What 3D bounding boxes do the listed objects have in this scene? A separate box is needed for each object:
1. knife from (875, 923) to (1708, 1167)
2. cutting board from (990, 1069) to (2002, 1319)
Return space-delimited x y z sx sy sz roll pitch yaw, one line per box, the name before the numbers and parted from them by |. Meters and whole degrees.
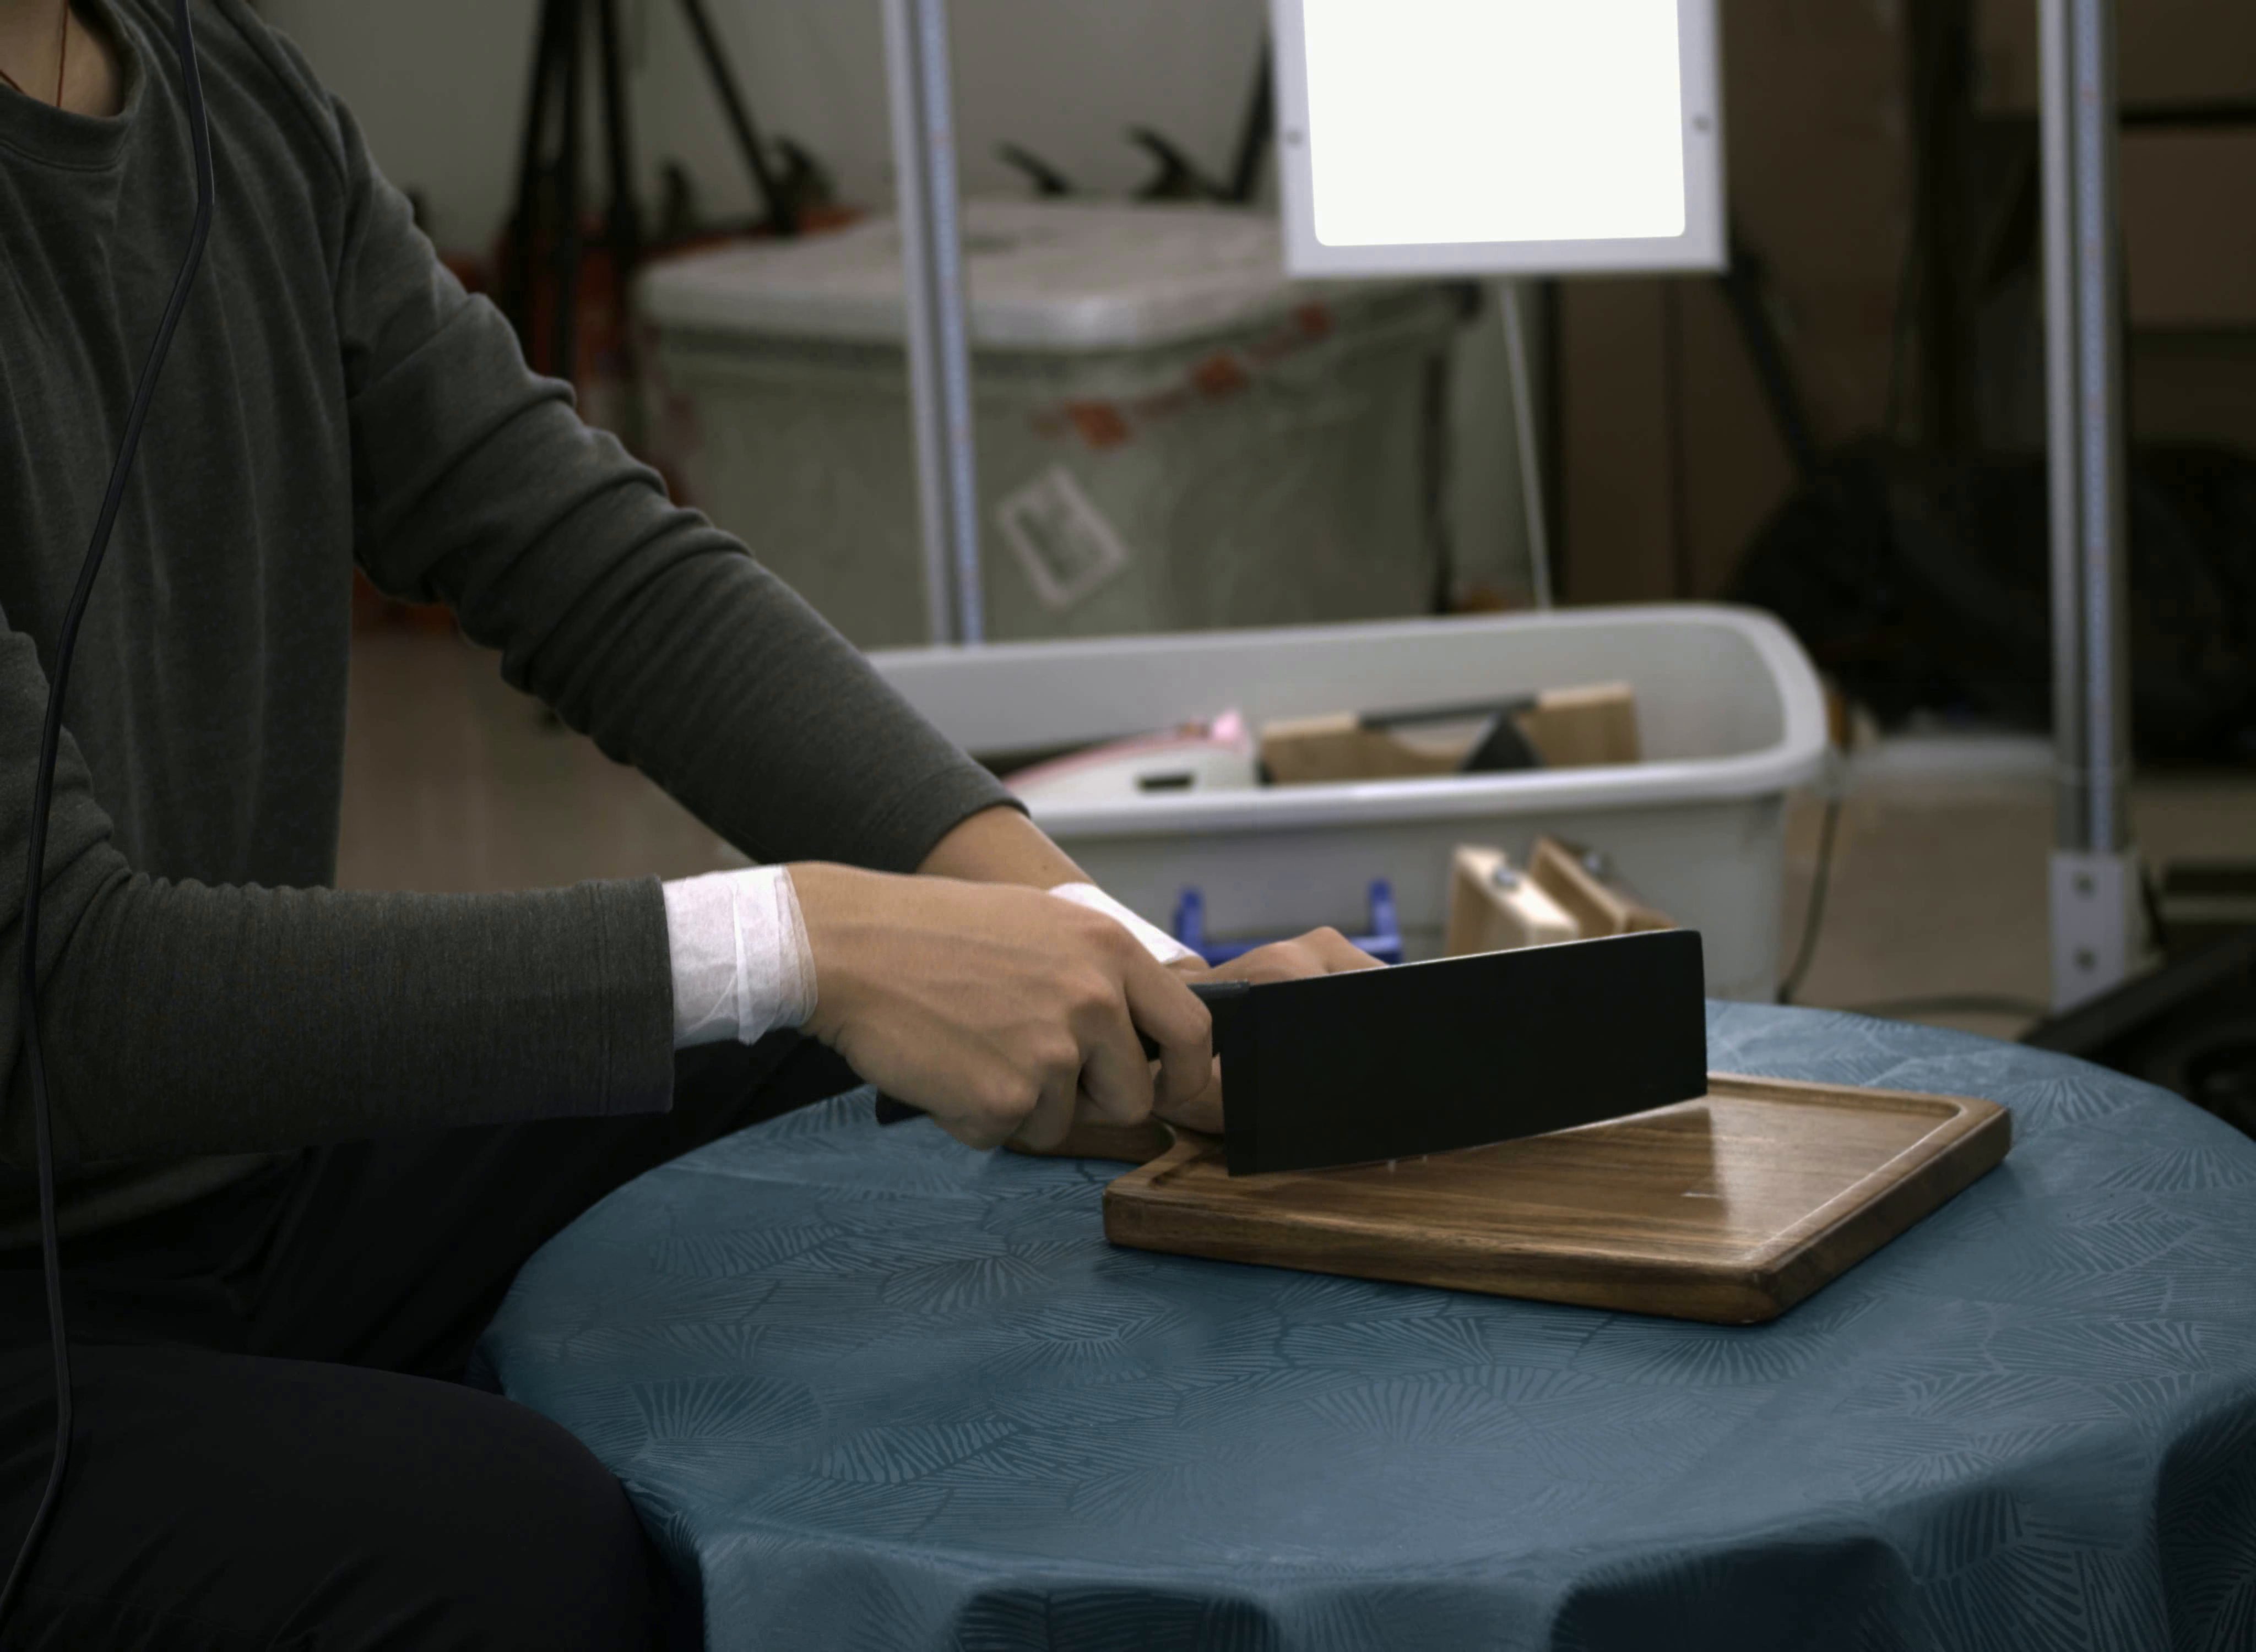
knife | 0.060 0.076 1.842 0.297 0.081 0.021 -2 8 -18
cutting board | 0.104 0.112 1.877 0.359 0.023 0.196 4 16 34
